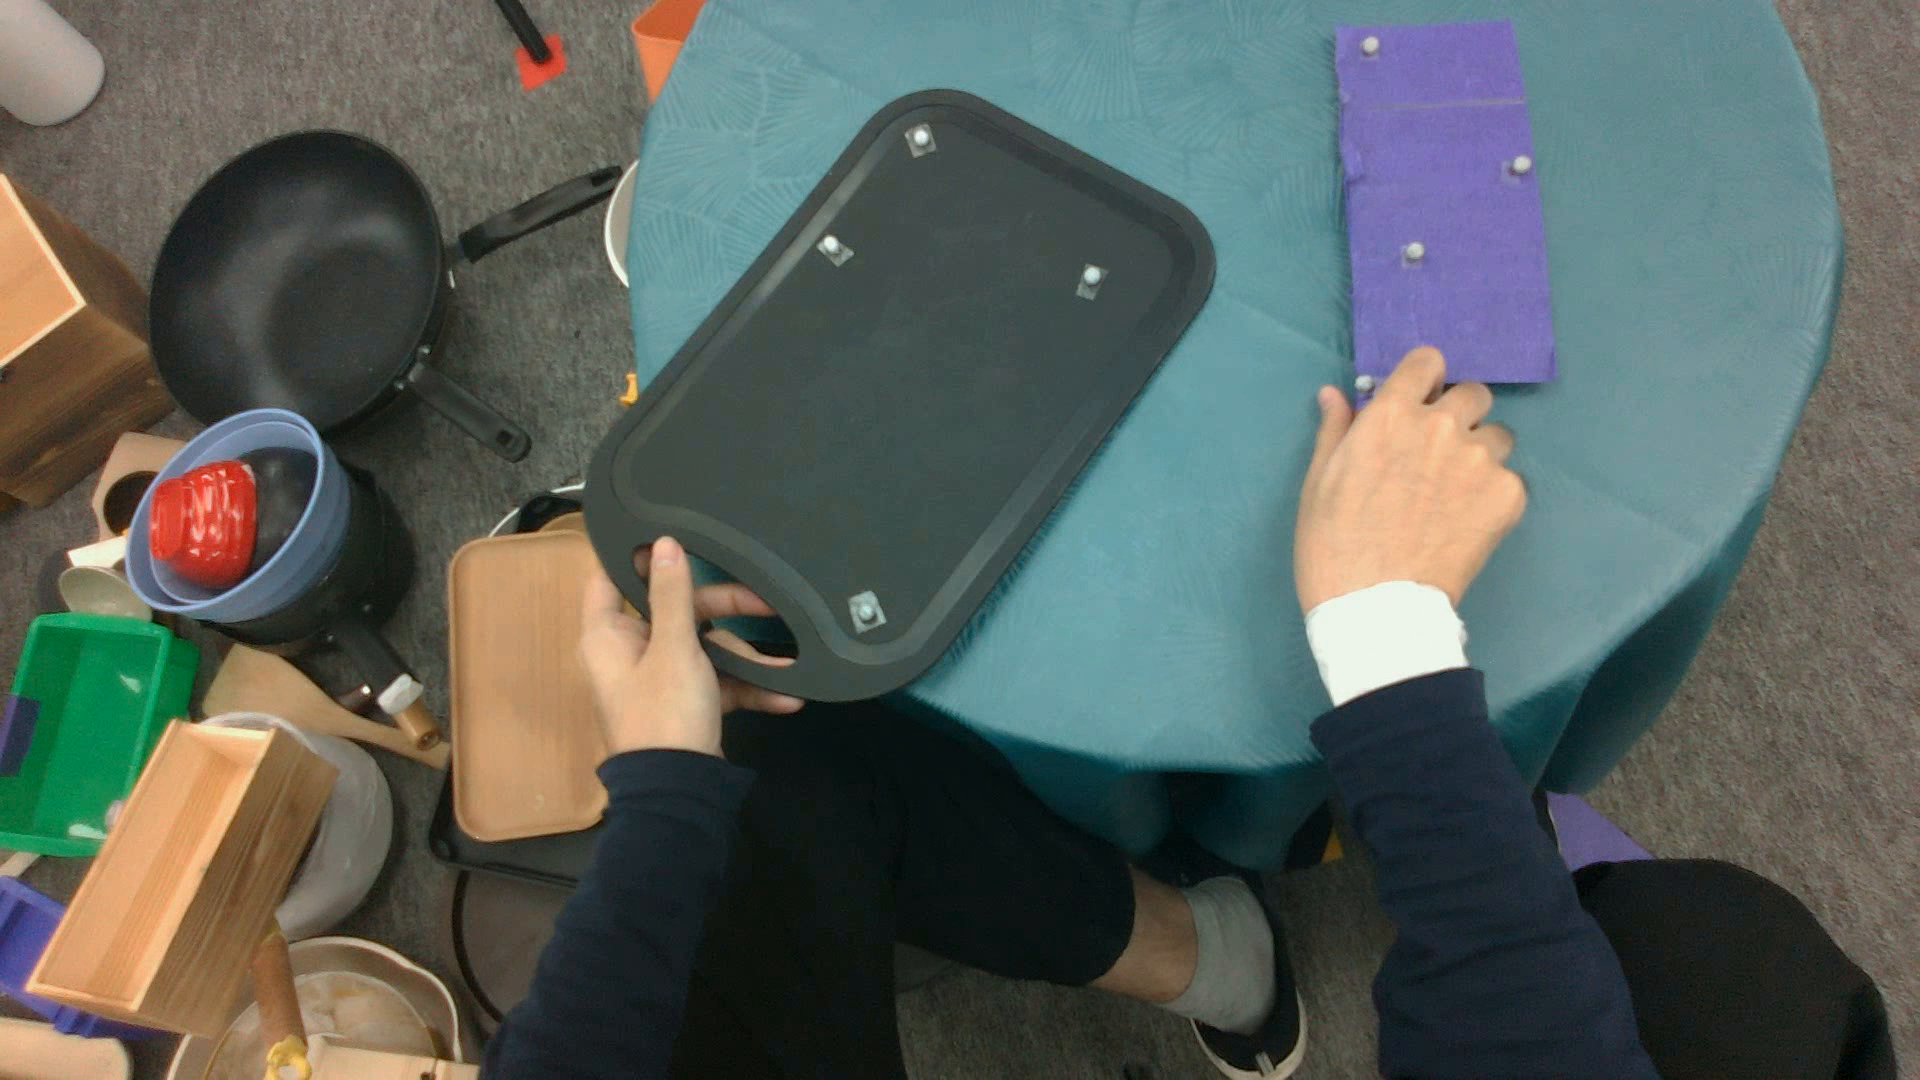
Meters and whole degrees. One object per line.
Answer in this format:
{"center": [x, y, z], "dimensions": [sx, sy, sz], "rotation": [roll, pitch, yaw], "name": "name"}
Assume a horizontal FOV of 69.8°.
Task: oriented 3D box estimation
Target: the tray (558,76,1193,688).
{"center": [-0.044, -0.085, 0.671], "dimensions": [0.211, 0.010, 0.326], "rotation": [33, 75, 17], "name": "tray"}

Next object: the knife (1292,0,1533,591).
{"center": [0.220, -0.130, 0.652], "dimensions": [0.104, 0.032, 0.316], "rotation": [0, 71, 4], "name": "knife"}
